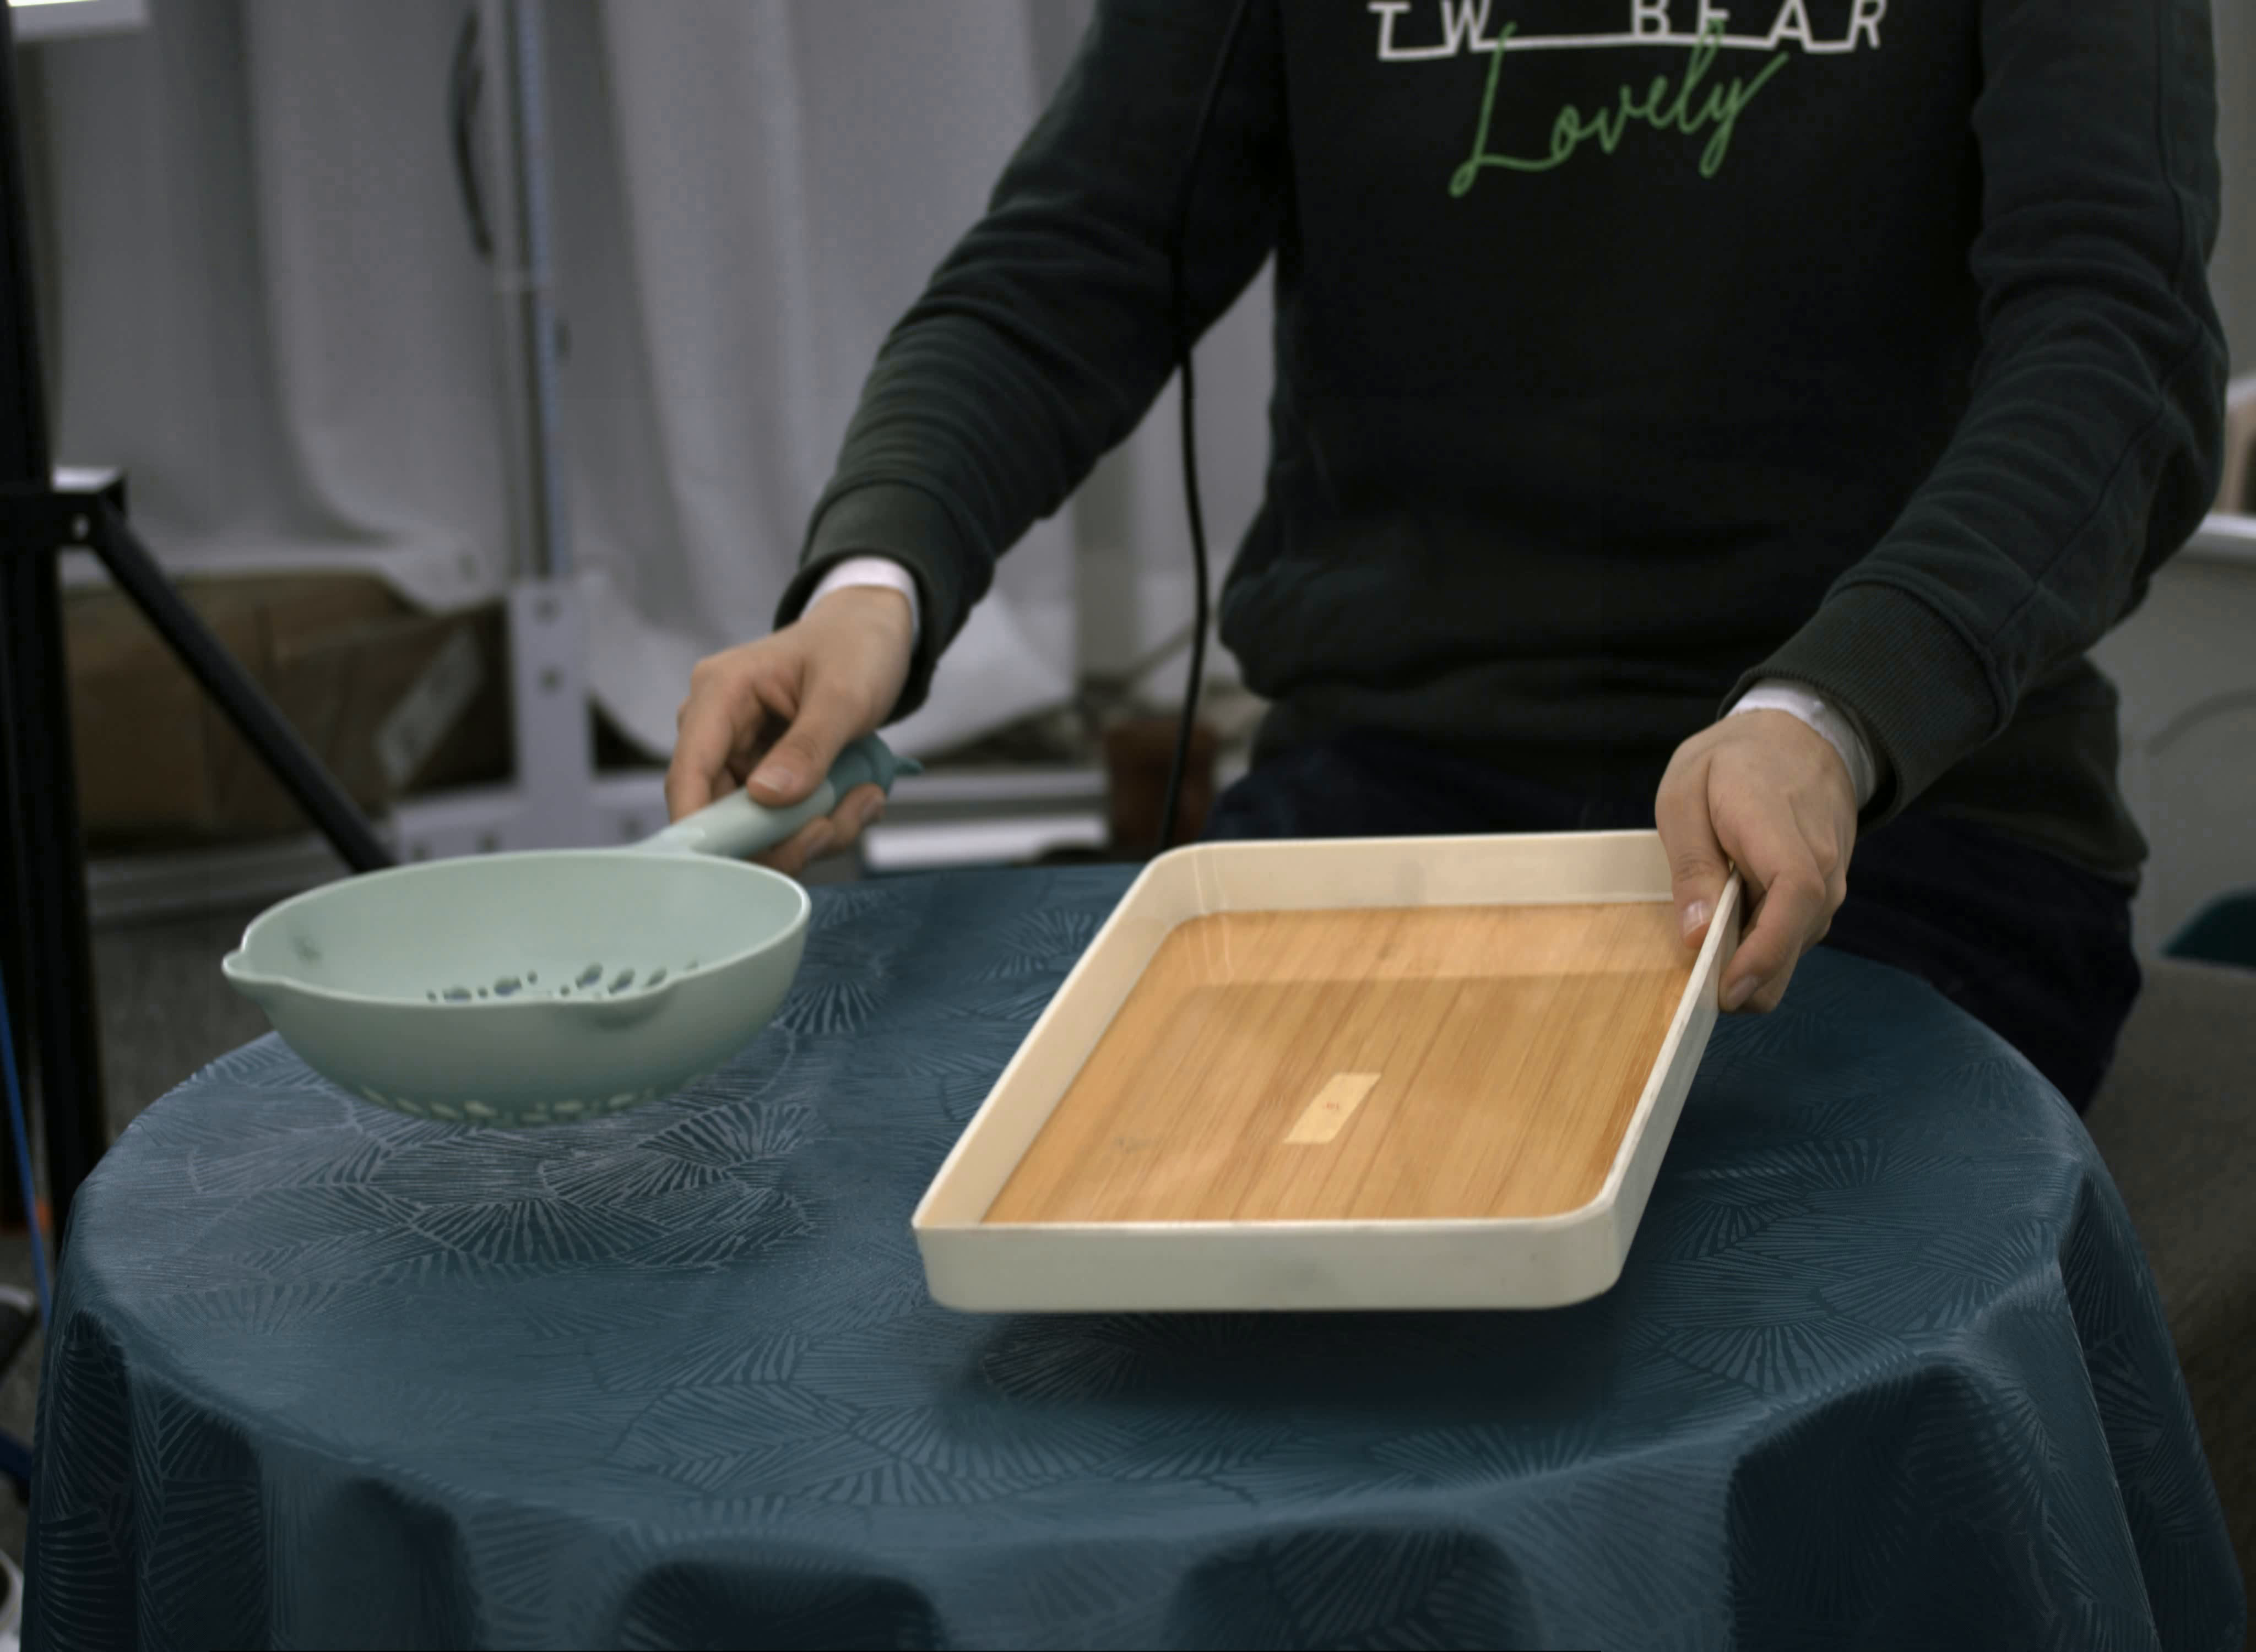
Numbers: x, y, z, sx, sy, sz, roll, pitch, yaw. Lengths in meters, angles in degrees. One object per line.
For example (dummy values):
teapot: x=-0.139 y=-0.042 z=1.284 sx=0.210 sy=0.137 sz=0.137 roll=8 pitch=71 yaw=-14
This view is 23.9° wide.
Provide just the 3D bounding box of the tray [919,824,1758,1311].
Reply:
tray: x=0.068 y=0.065 z=1.508 sx=0.193 sy=0.027 sz=0.298 roll=-2 pitch=20 yaw=16

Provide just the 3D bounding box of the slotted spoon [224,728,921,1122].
slotted spoon: x=-0.143 y=0.015 z=1.672 sx=0.171 sy=0.075 sz=0.355 roll=3 pitch=23 yaw=21
